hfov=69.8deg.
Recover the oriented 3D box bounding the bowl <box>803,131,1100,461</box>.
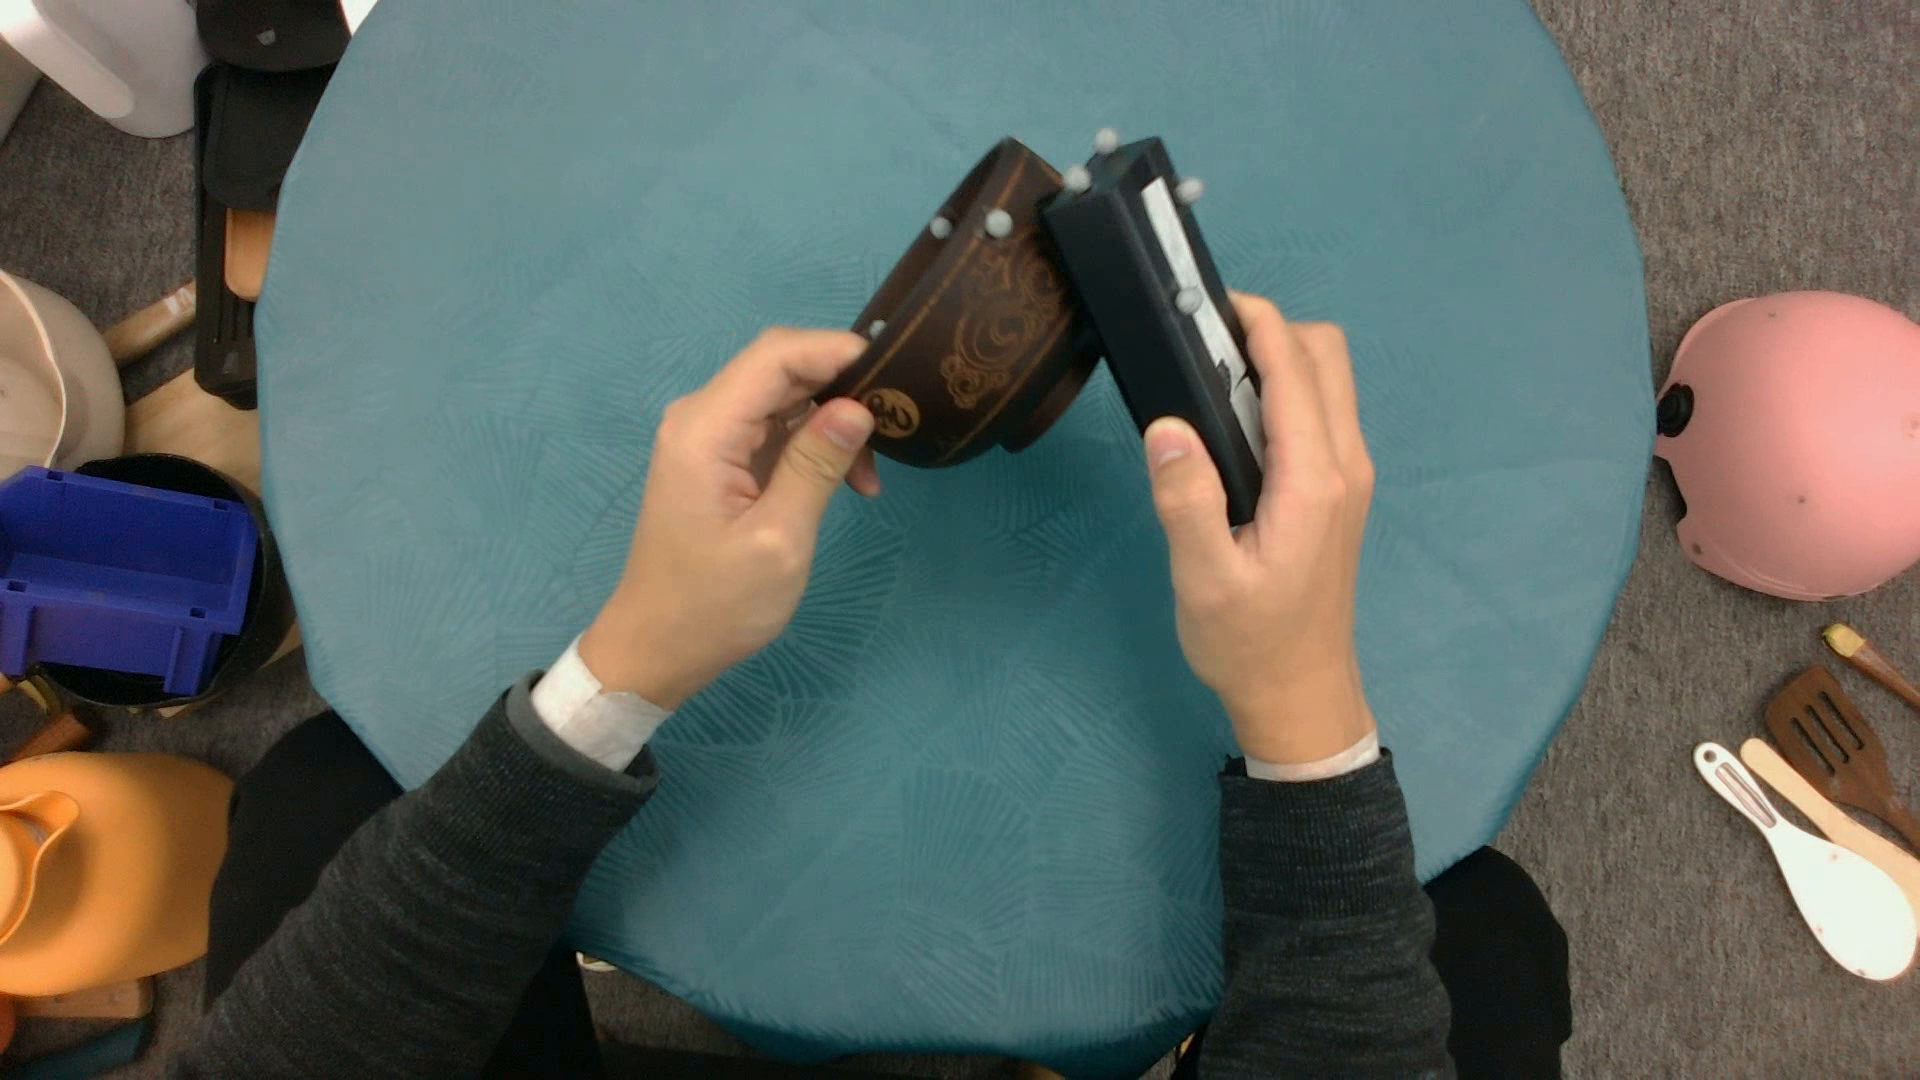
[{"bbox_3d":[0.006,-0.077,0.488,0.070,0.118,0.118,36,80,-15],"label":"bowl"}]

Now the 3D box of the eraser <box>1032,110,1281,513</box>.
[{"bbox_3d":[0.068,-0.073,0.458,0.054,0.030,0.125,-52,123,-44],"label":"eraser"}]
